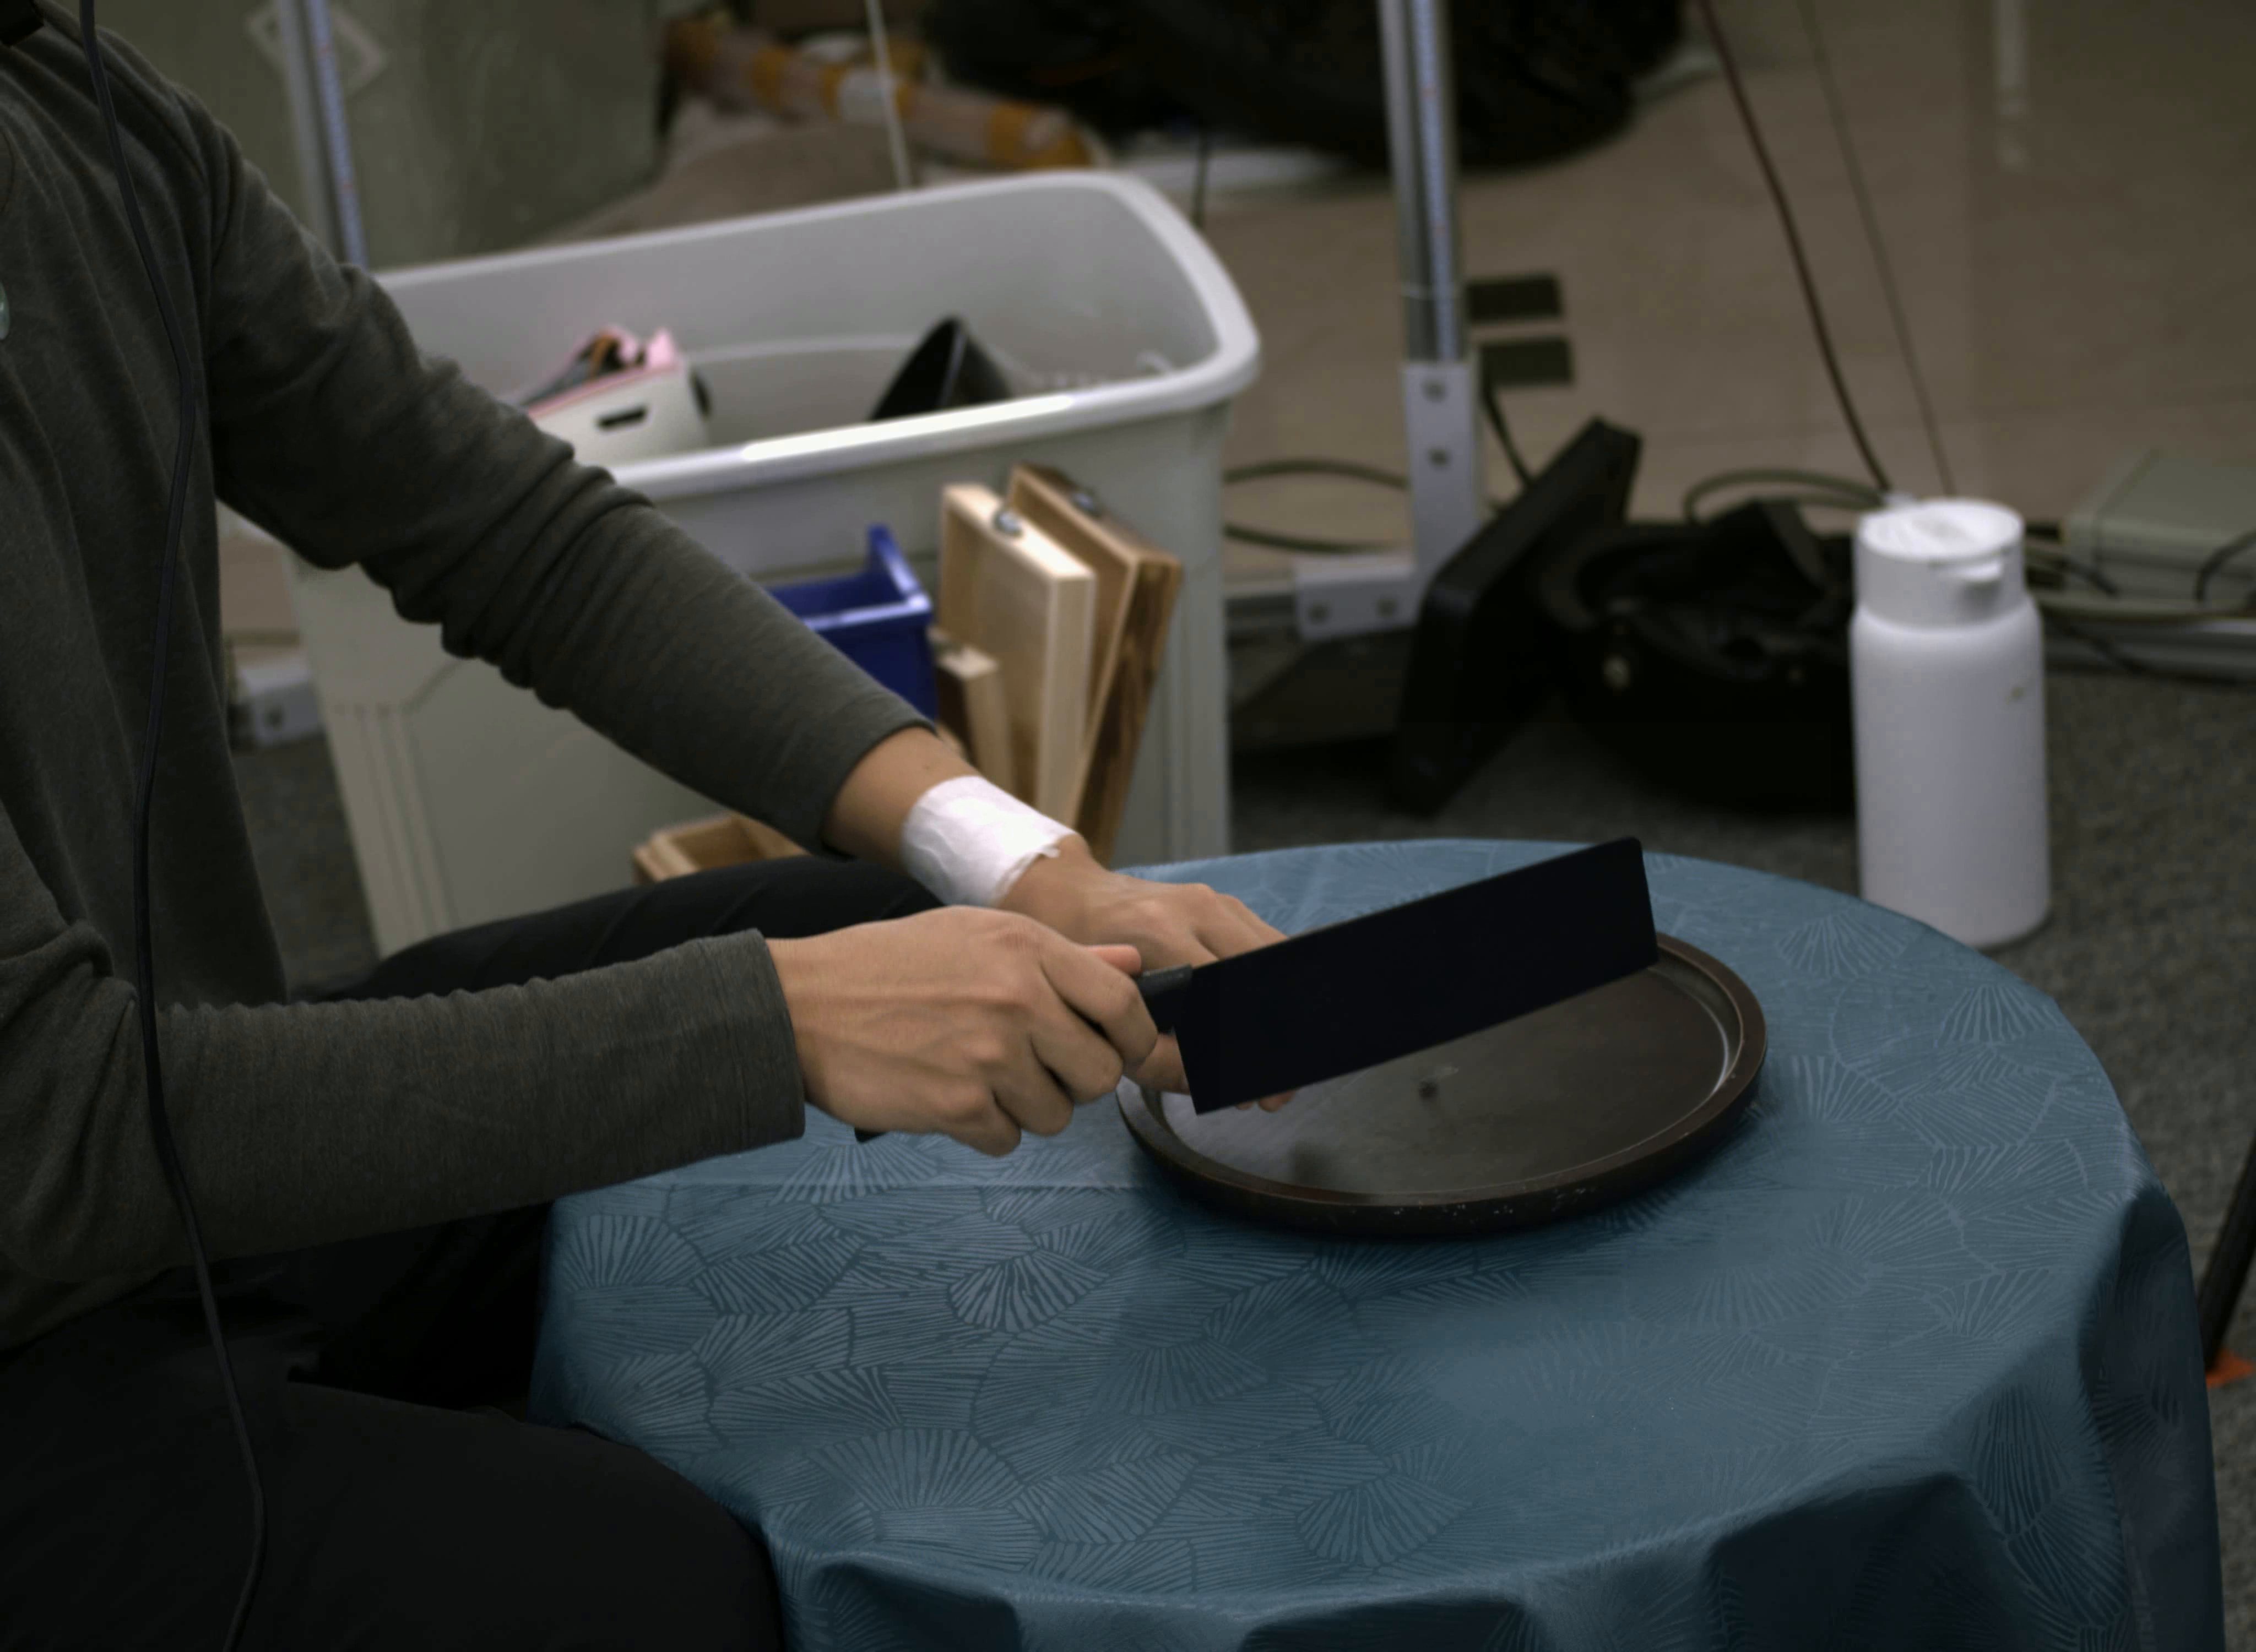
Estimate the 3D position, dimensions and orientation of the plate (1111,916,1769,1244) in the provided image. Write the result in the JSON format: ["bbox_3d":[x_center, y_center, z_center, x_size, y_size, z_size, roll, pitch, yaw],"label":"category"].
[{"bbox_3d":[0.120,0.095,2.189,0.254,0.029,0.251,-5,26,3],"label":"plate"}]

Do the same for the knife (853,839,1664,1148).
[{"bbox_3d":[0.047,0.069,2.042,0.301,0.082,0.020,-13,35,-5],"label":"knife"}]
